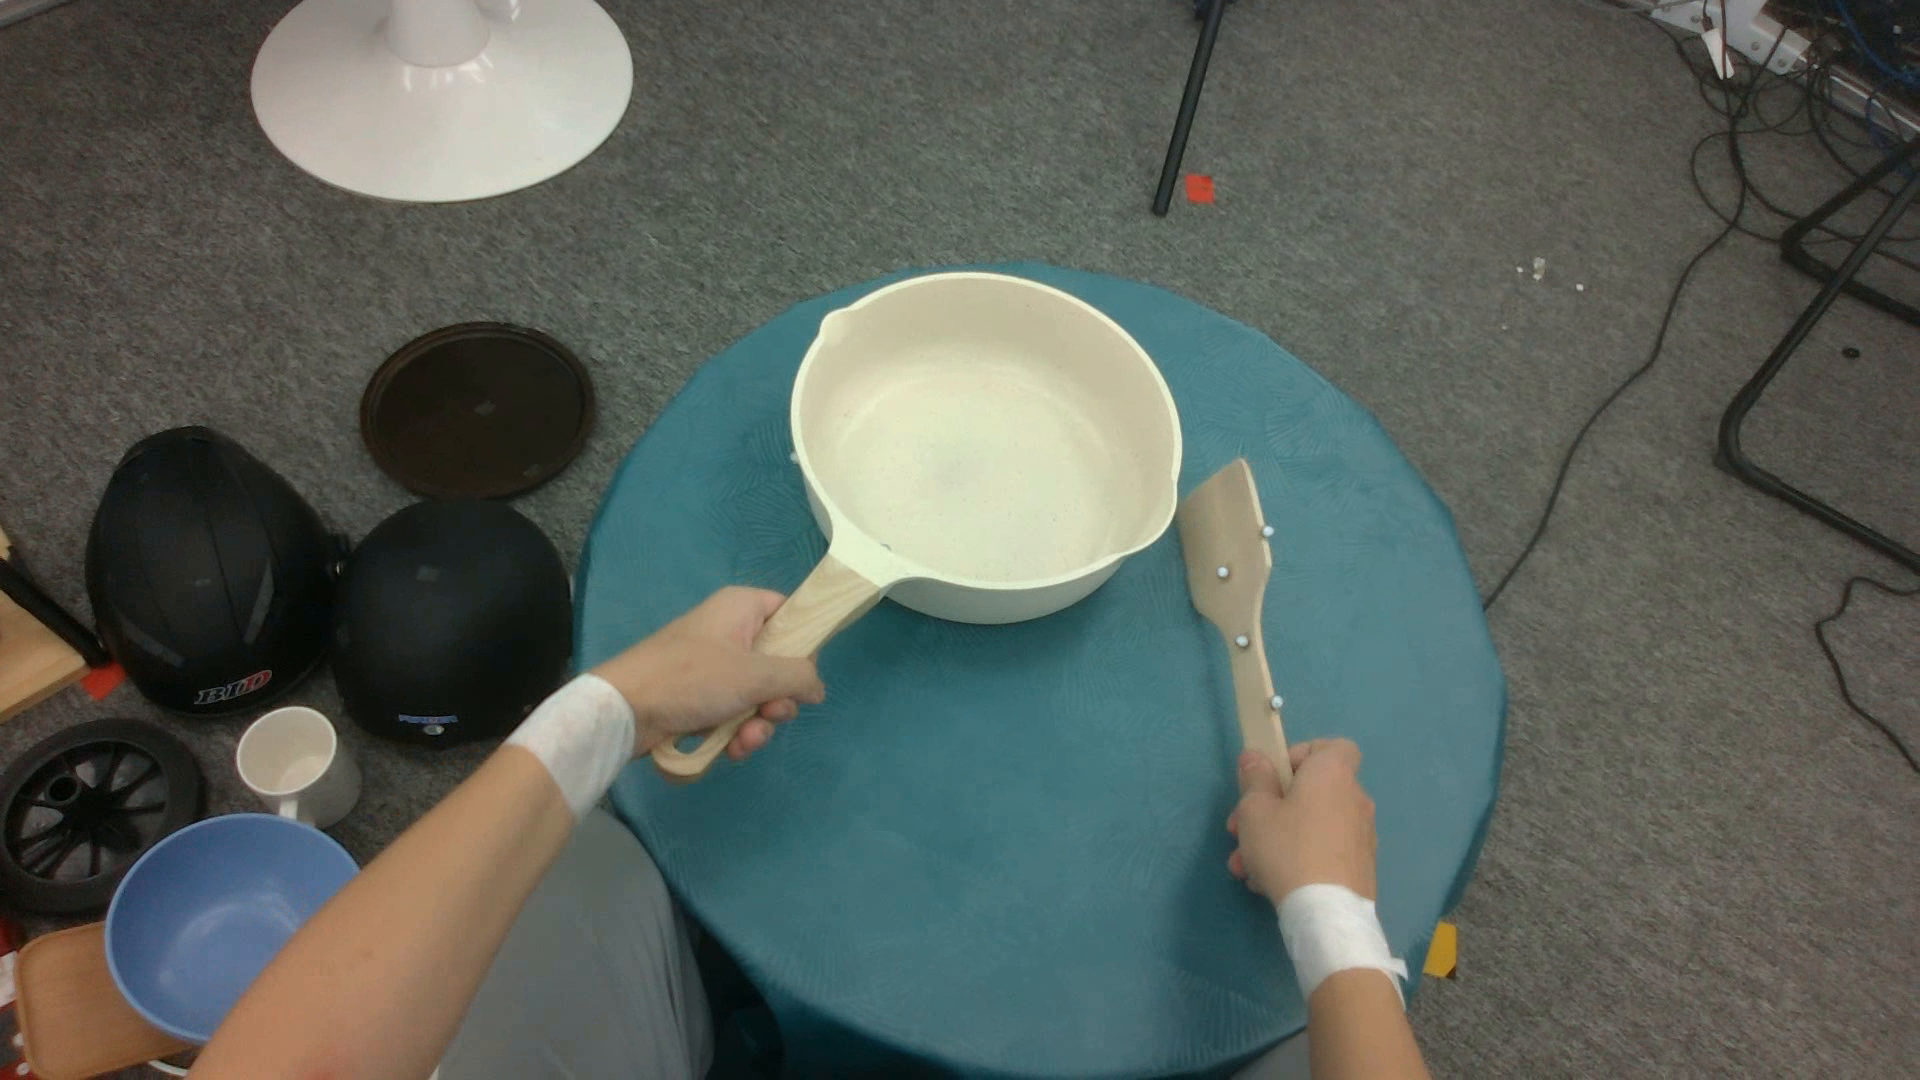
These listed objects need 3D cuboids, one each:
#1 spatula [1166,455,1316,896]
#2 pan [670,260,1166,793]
[{"bbox_3d":[0.181,0.079,0.862,0.010,0.072,0.294,20,49,-34],"label":"spatula"},{"bbox_3d":[-0.041,-0.004,0.863,0.263,0.101,0.437,31,59,10],"label":"pan"}]
